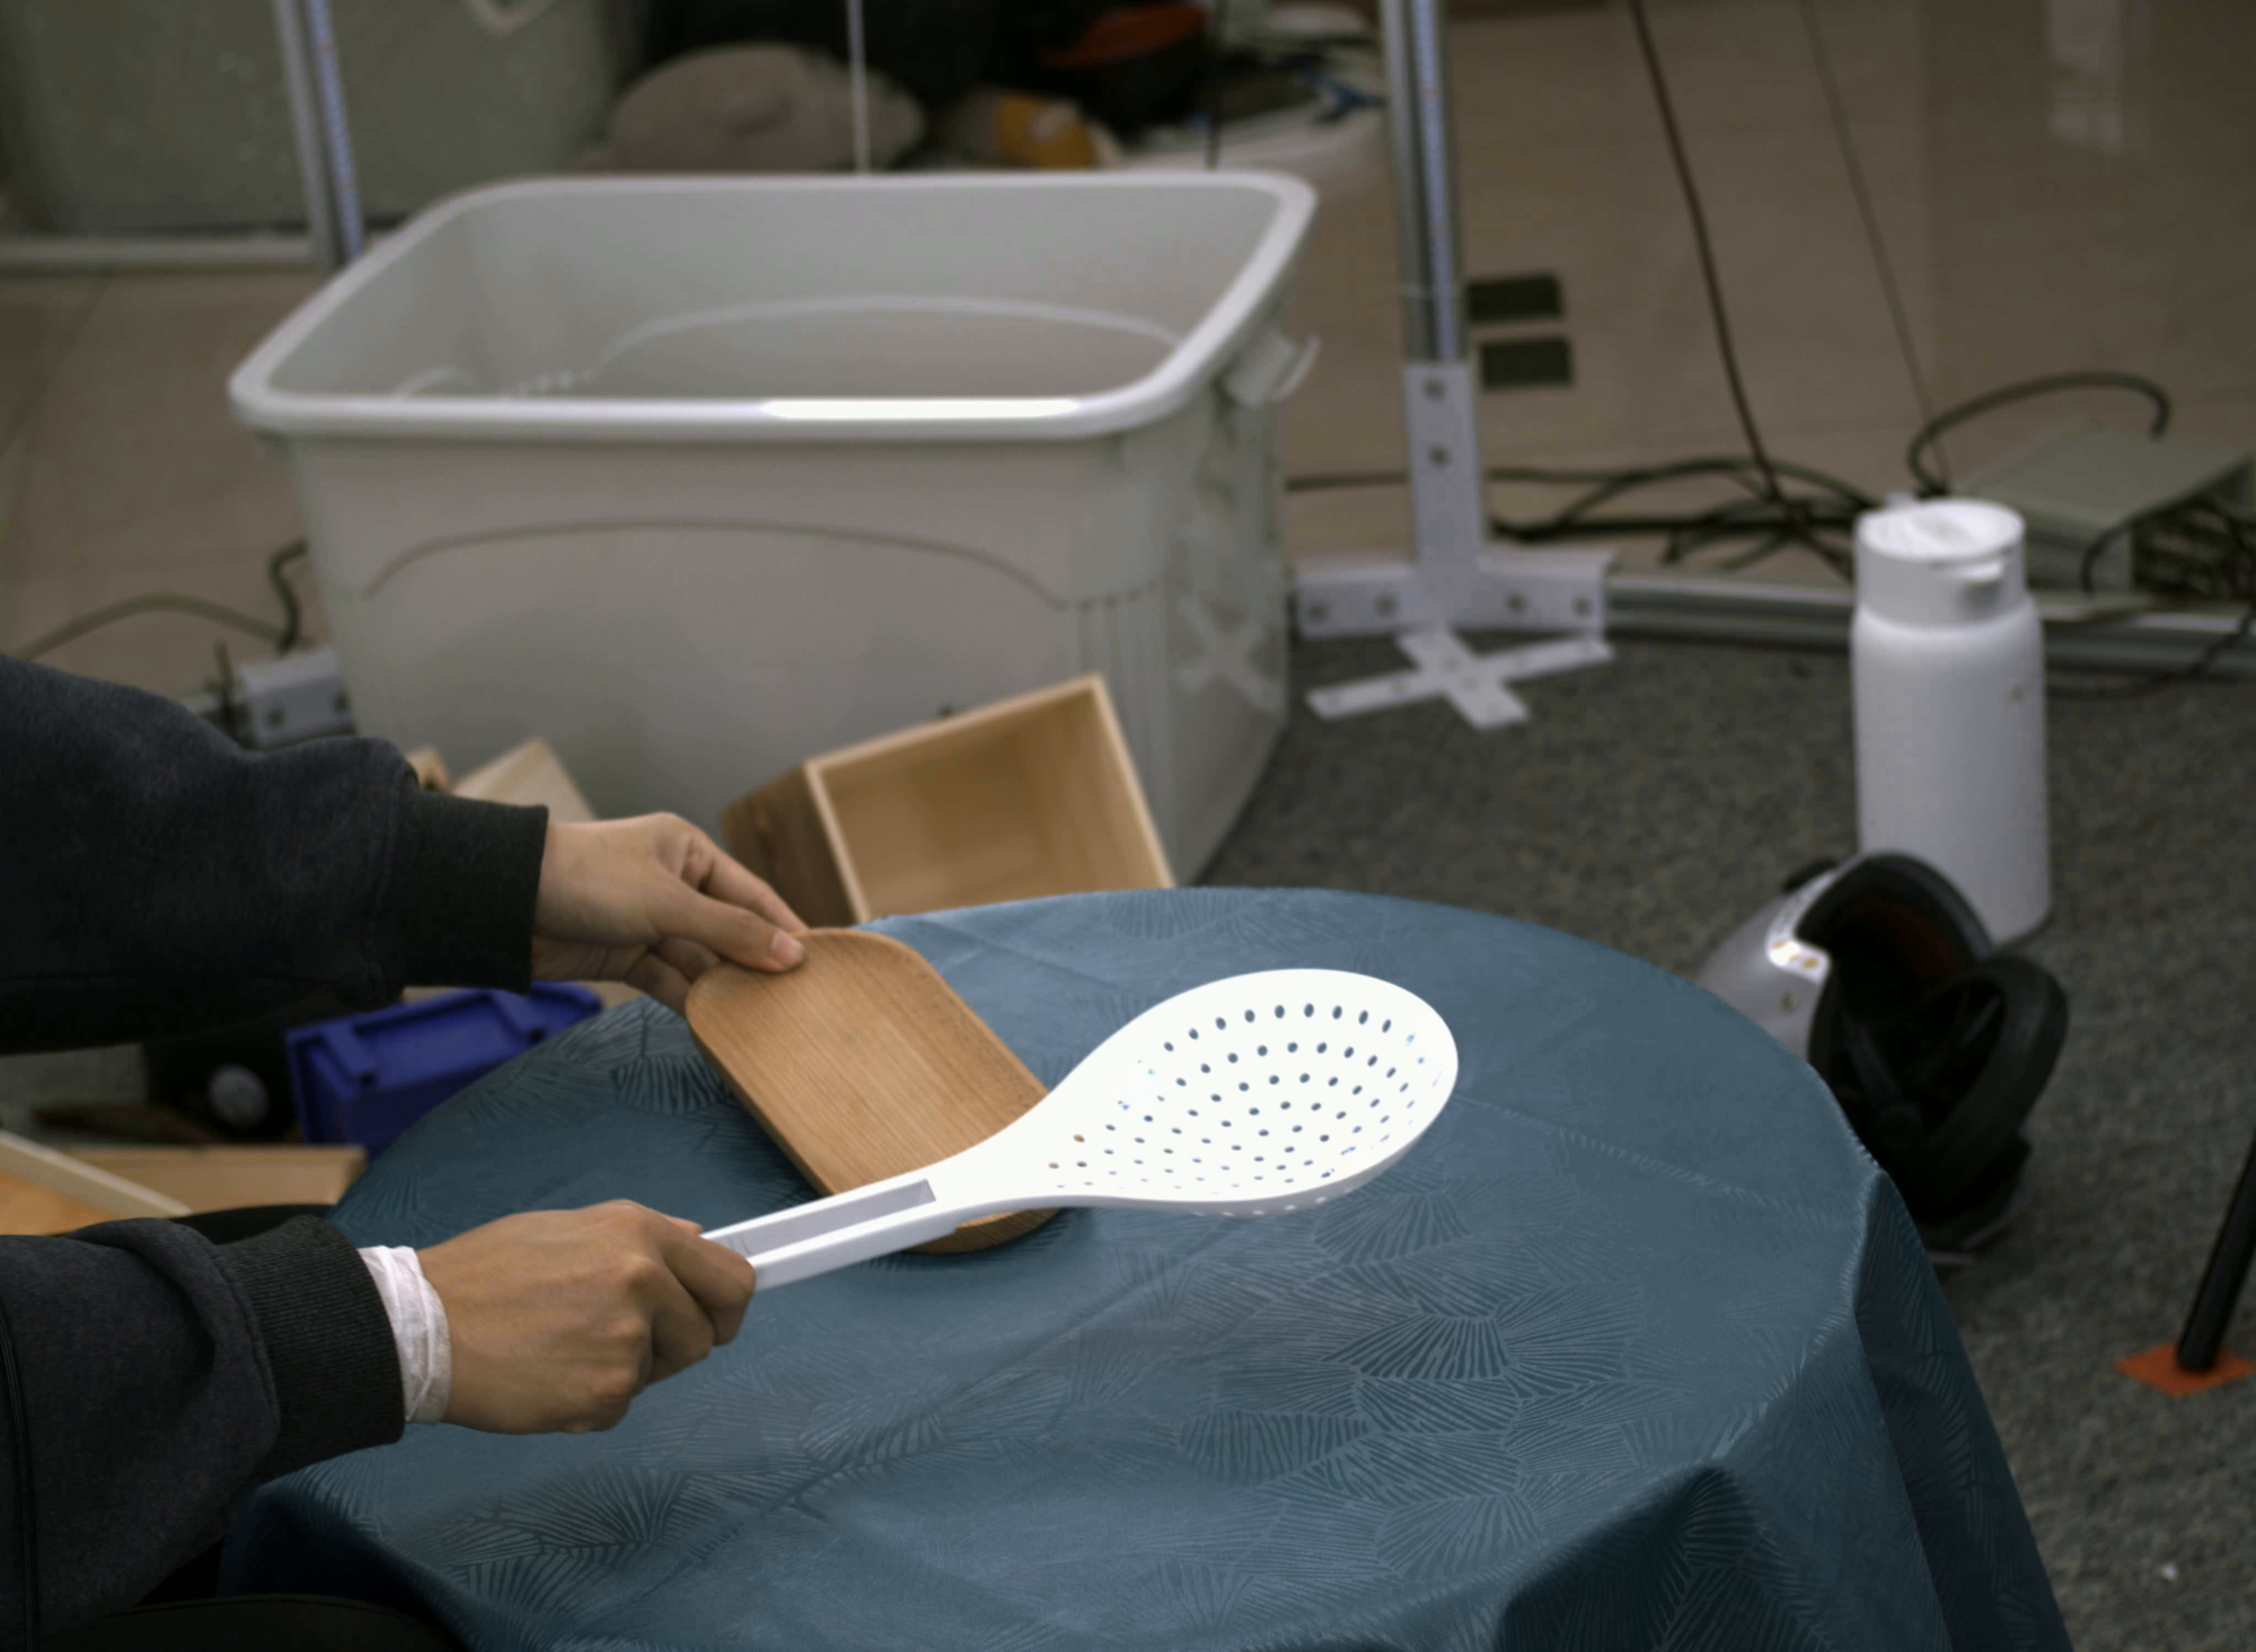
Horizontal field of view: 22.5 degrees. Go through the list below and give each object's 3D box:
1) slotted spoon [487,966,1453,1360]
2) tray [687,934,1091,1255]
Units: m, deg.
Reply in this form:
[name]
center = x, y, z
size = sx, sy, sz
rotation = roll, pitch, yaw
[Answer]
[slotted spoon]
center = -0.054, 0.125, 1.986
size = 0.349, 0.046, 0.134
rotation = -13, 32, -11
[tray]
center = -0.093, 0.103, 2.201
size = 0.101, 0.021, 0.228
rotation = -20, 36, -21
